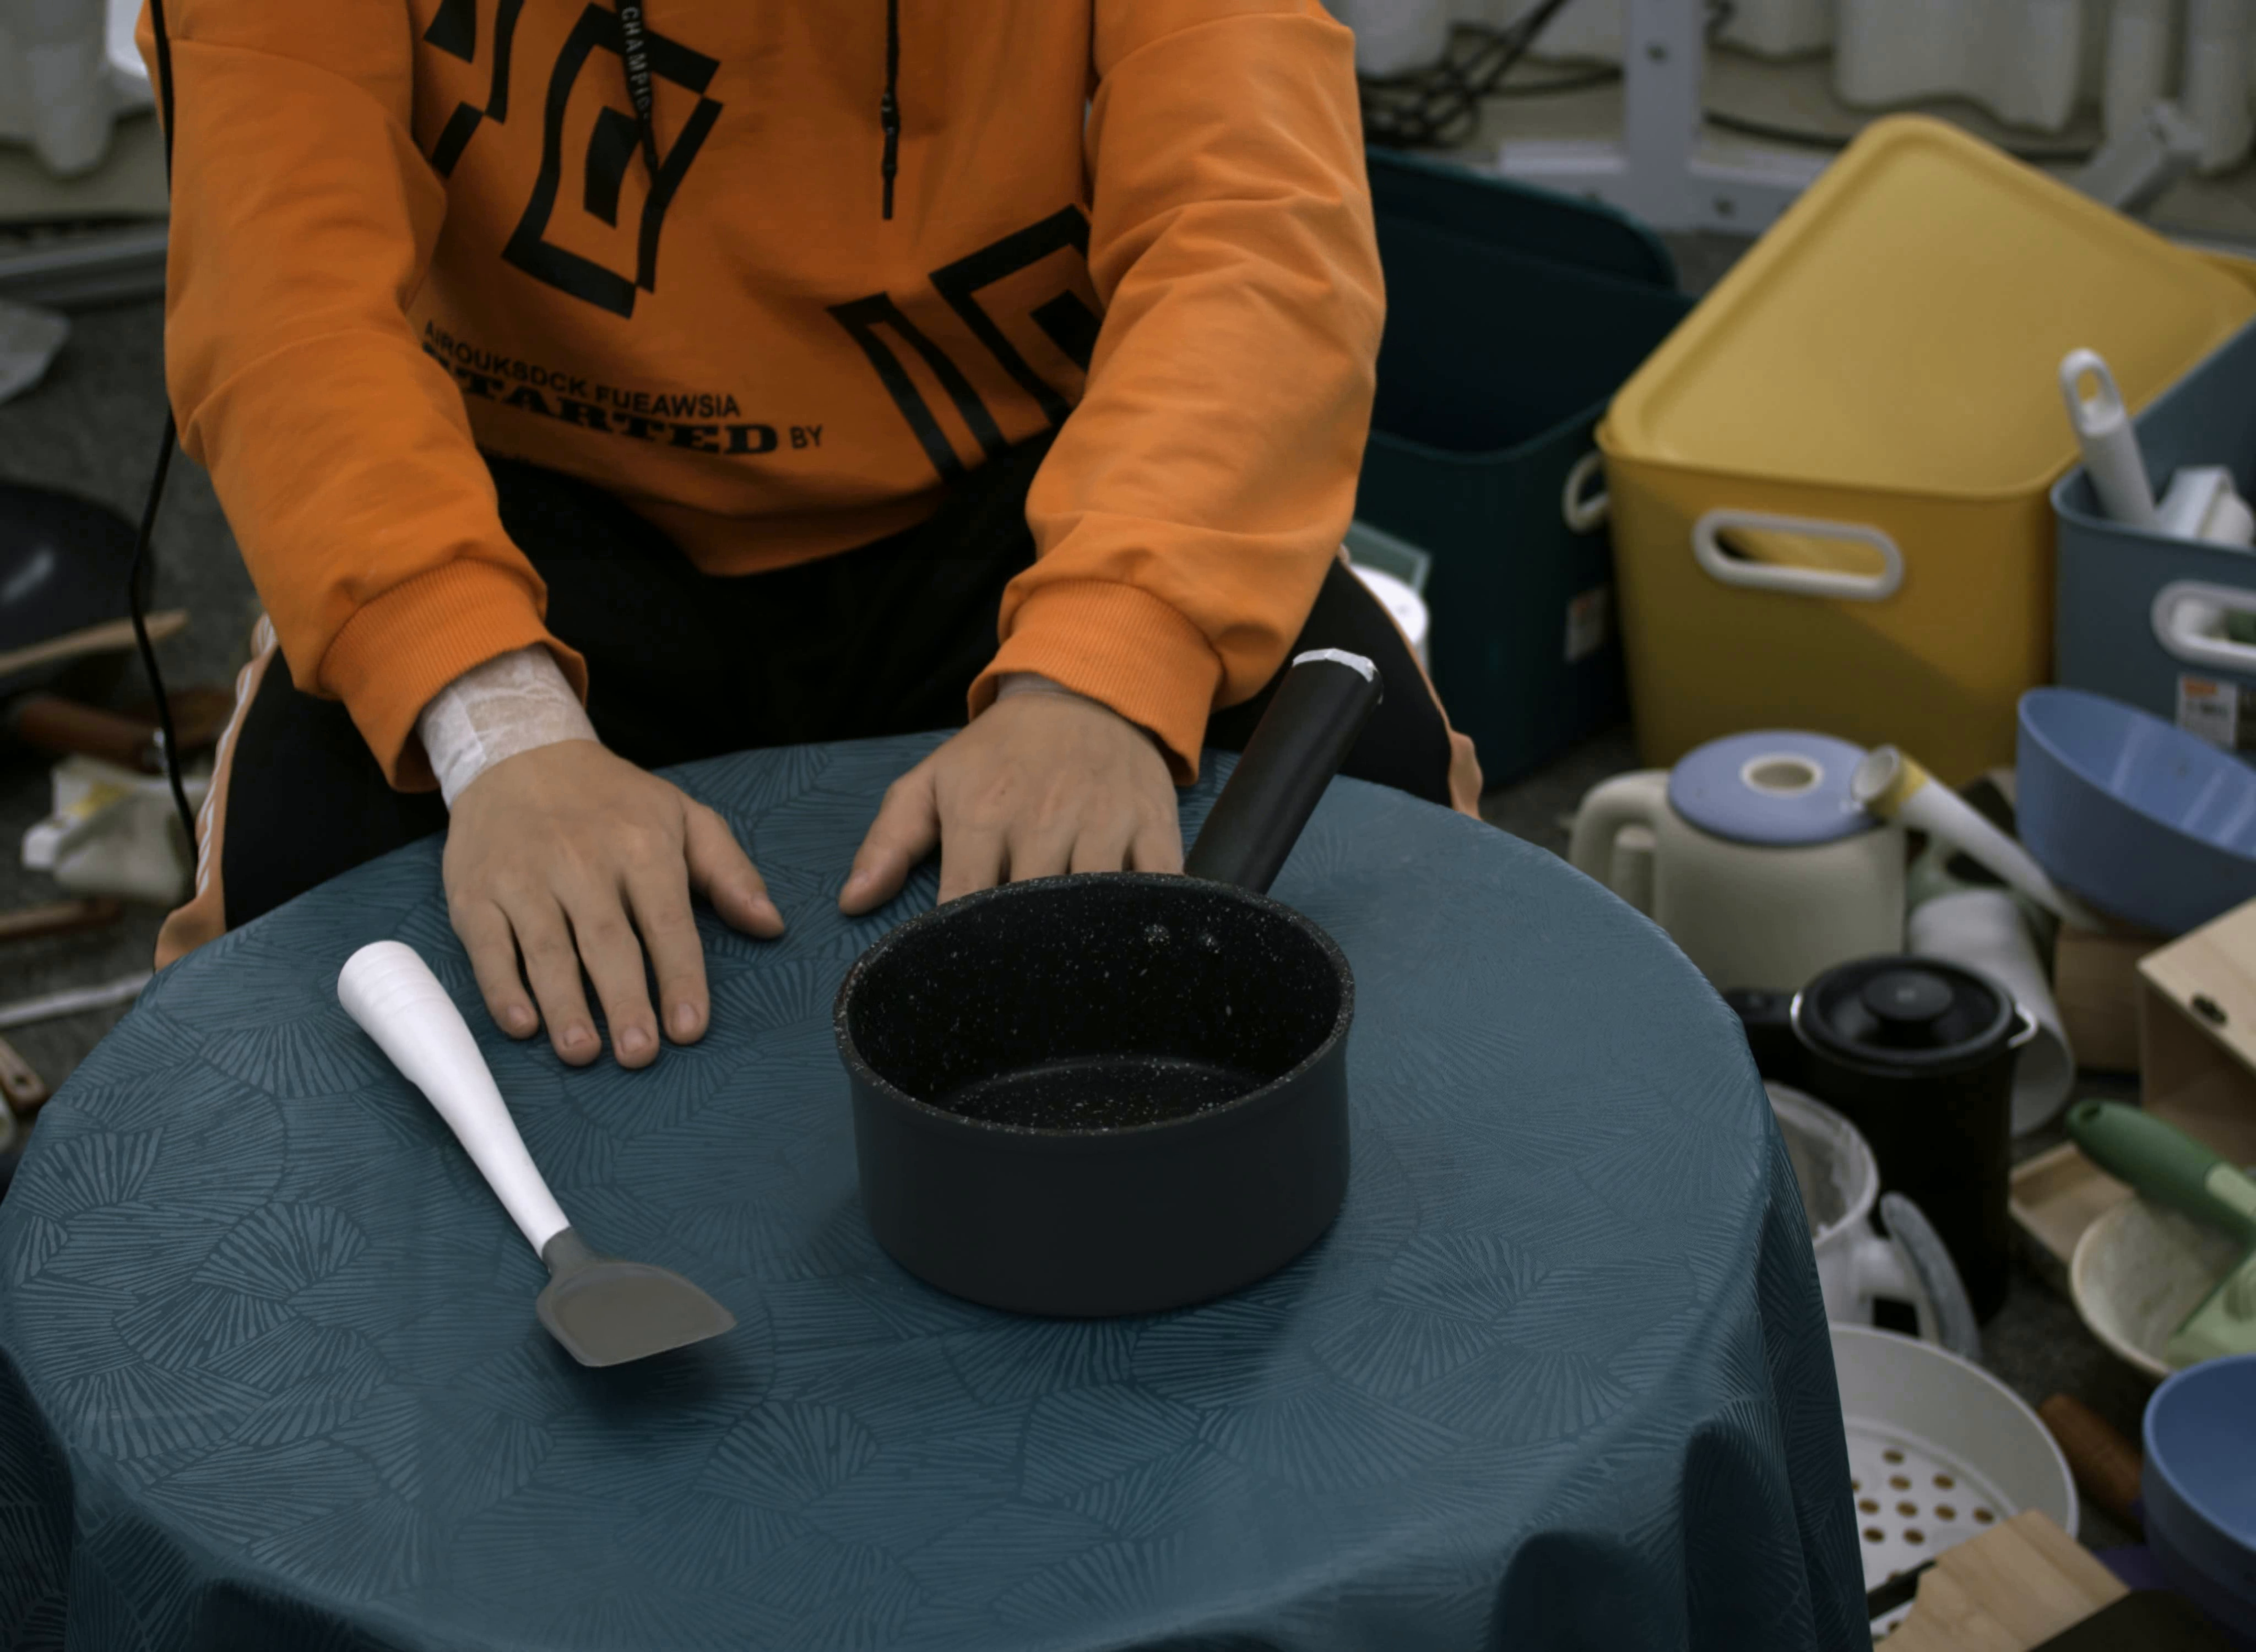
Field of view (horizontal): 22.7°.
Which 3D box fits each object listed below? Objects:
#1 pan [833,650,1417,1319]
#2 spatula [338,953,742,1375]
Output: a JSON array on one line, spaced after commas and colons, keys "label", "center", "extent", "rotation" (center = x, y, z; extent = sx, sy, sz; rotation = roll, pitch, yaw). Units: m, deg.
[{"label": "pan", "center": [0.023, 0.049, 1.908], "extent": [0.171, 0.085, 0.334], "rotation": [10, 32, 22]}, {"label": "spatula", "center": [-0.202, 0.116, 1.860], "extent": [0.059, 0.032, 0.289], "rotation": [-10, 27, -23]}]
